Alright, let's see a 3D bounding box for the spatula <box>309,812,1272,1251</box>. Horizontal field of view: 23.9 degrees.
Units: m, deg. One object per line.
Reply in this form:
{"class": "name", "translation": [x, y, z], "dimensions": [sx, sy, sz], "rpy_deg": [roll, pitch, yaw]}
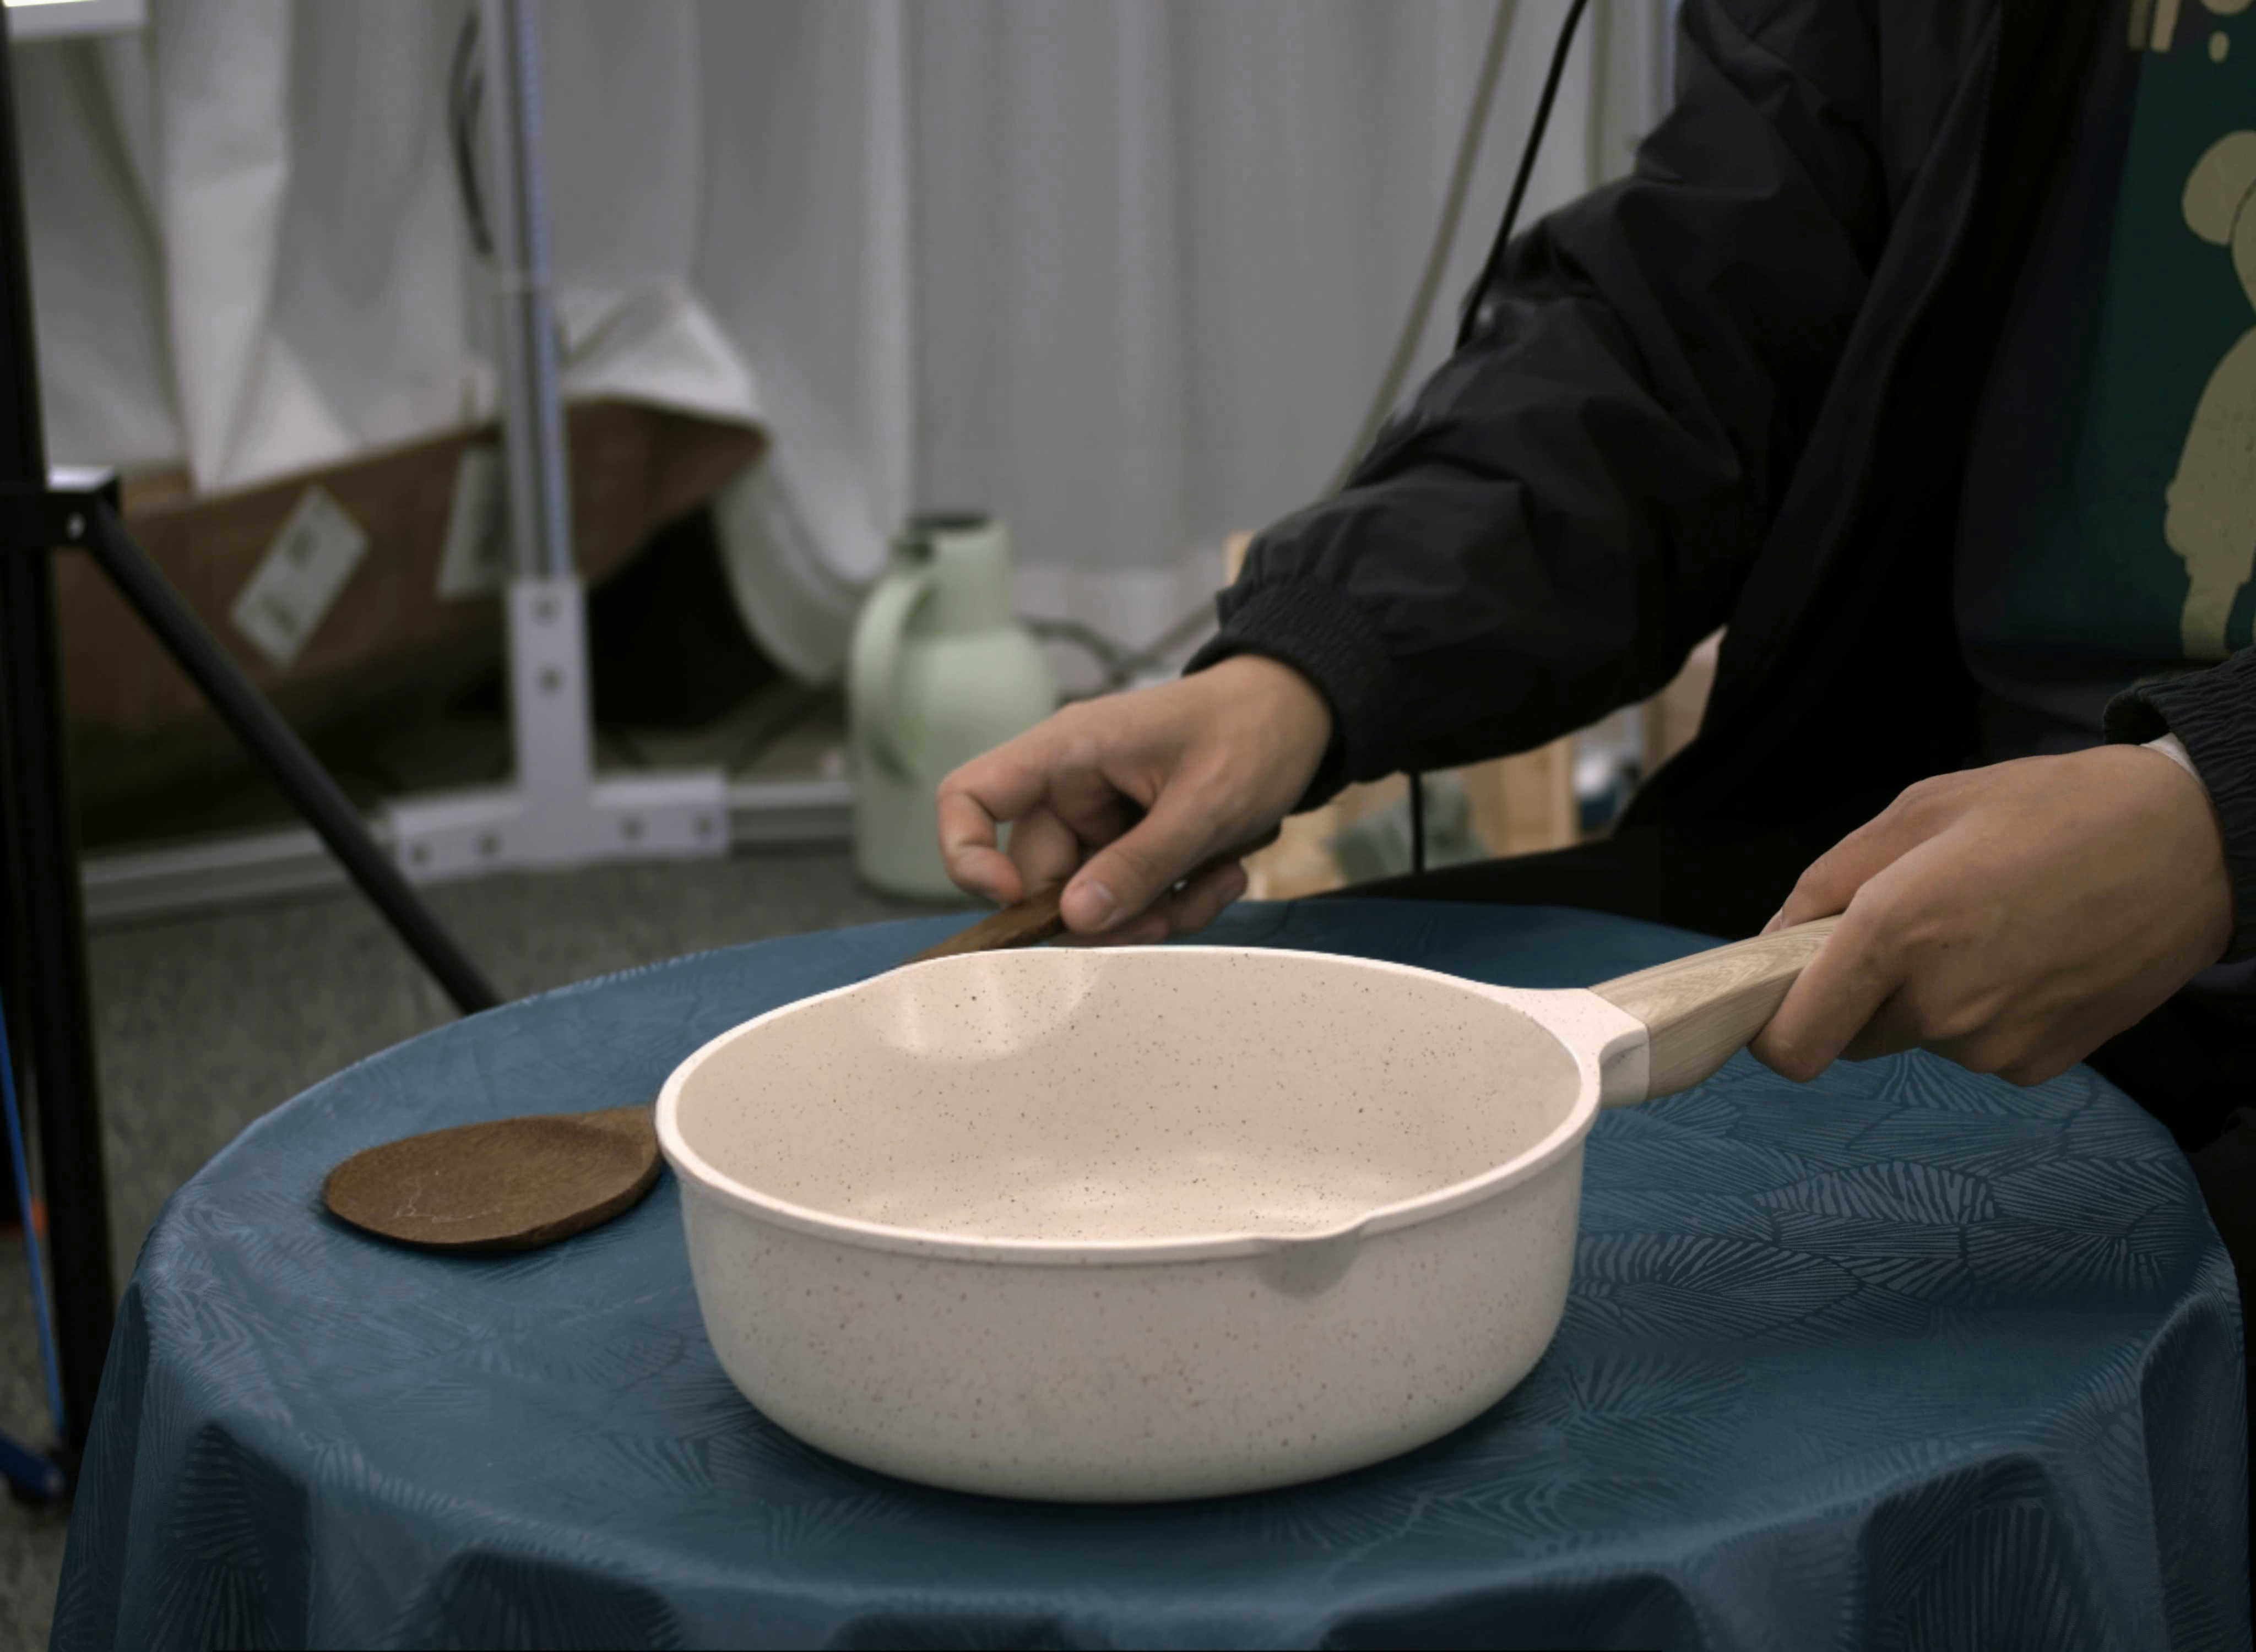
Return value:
{"class": "spatula", "translation": [-0.088, 0.058, 1.671], "dimensions": [0.098, 0.016, 0.378], "rpy_deg": [12, 28, 44]}

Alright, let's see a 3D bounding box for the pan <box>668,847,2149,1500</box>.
{"class": "pan", "translation": [0.090, 0.087, 1.433], "dimensions": [0.427, 0.102, 0.268], "rpy_deg": [-8, 15, -19]}
